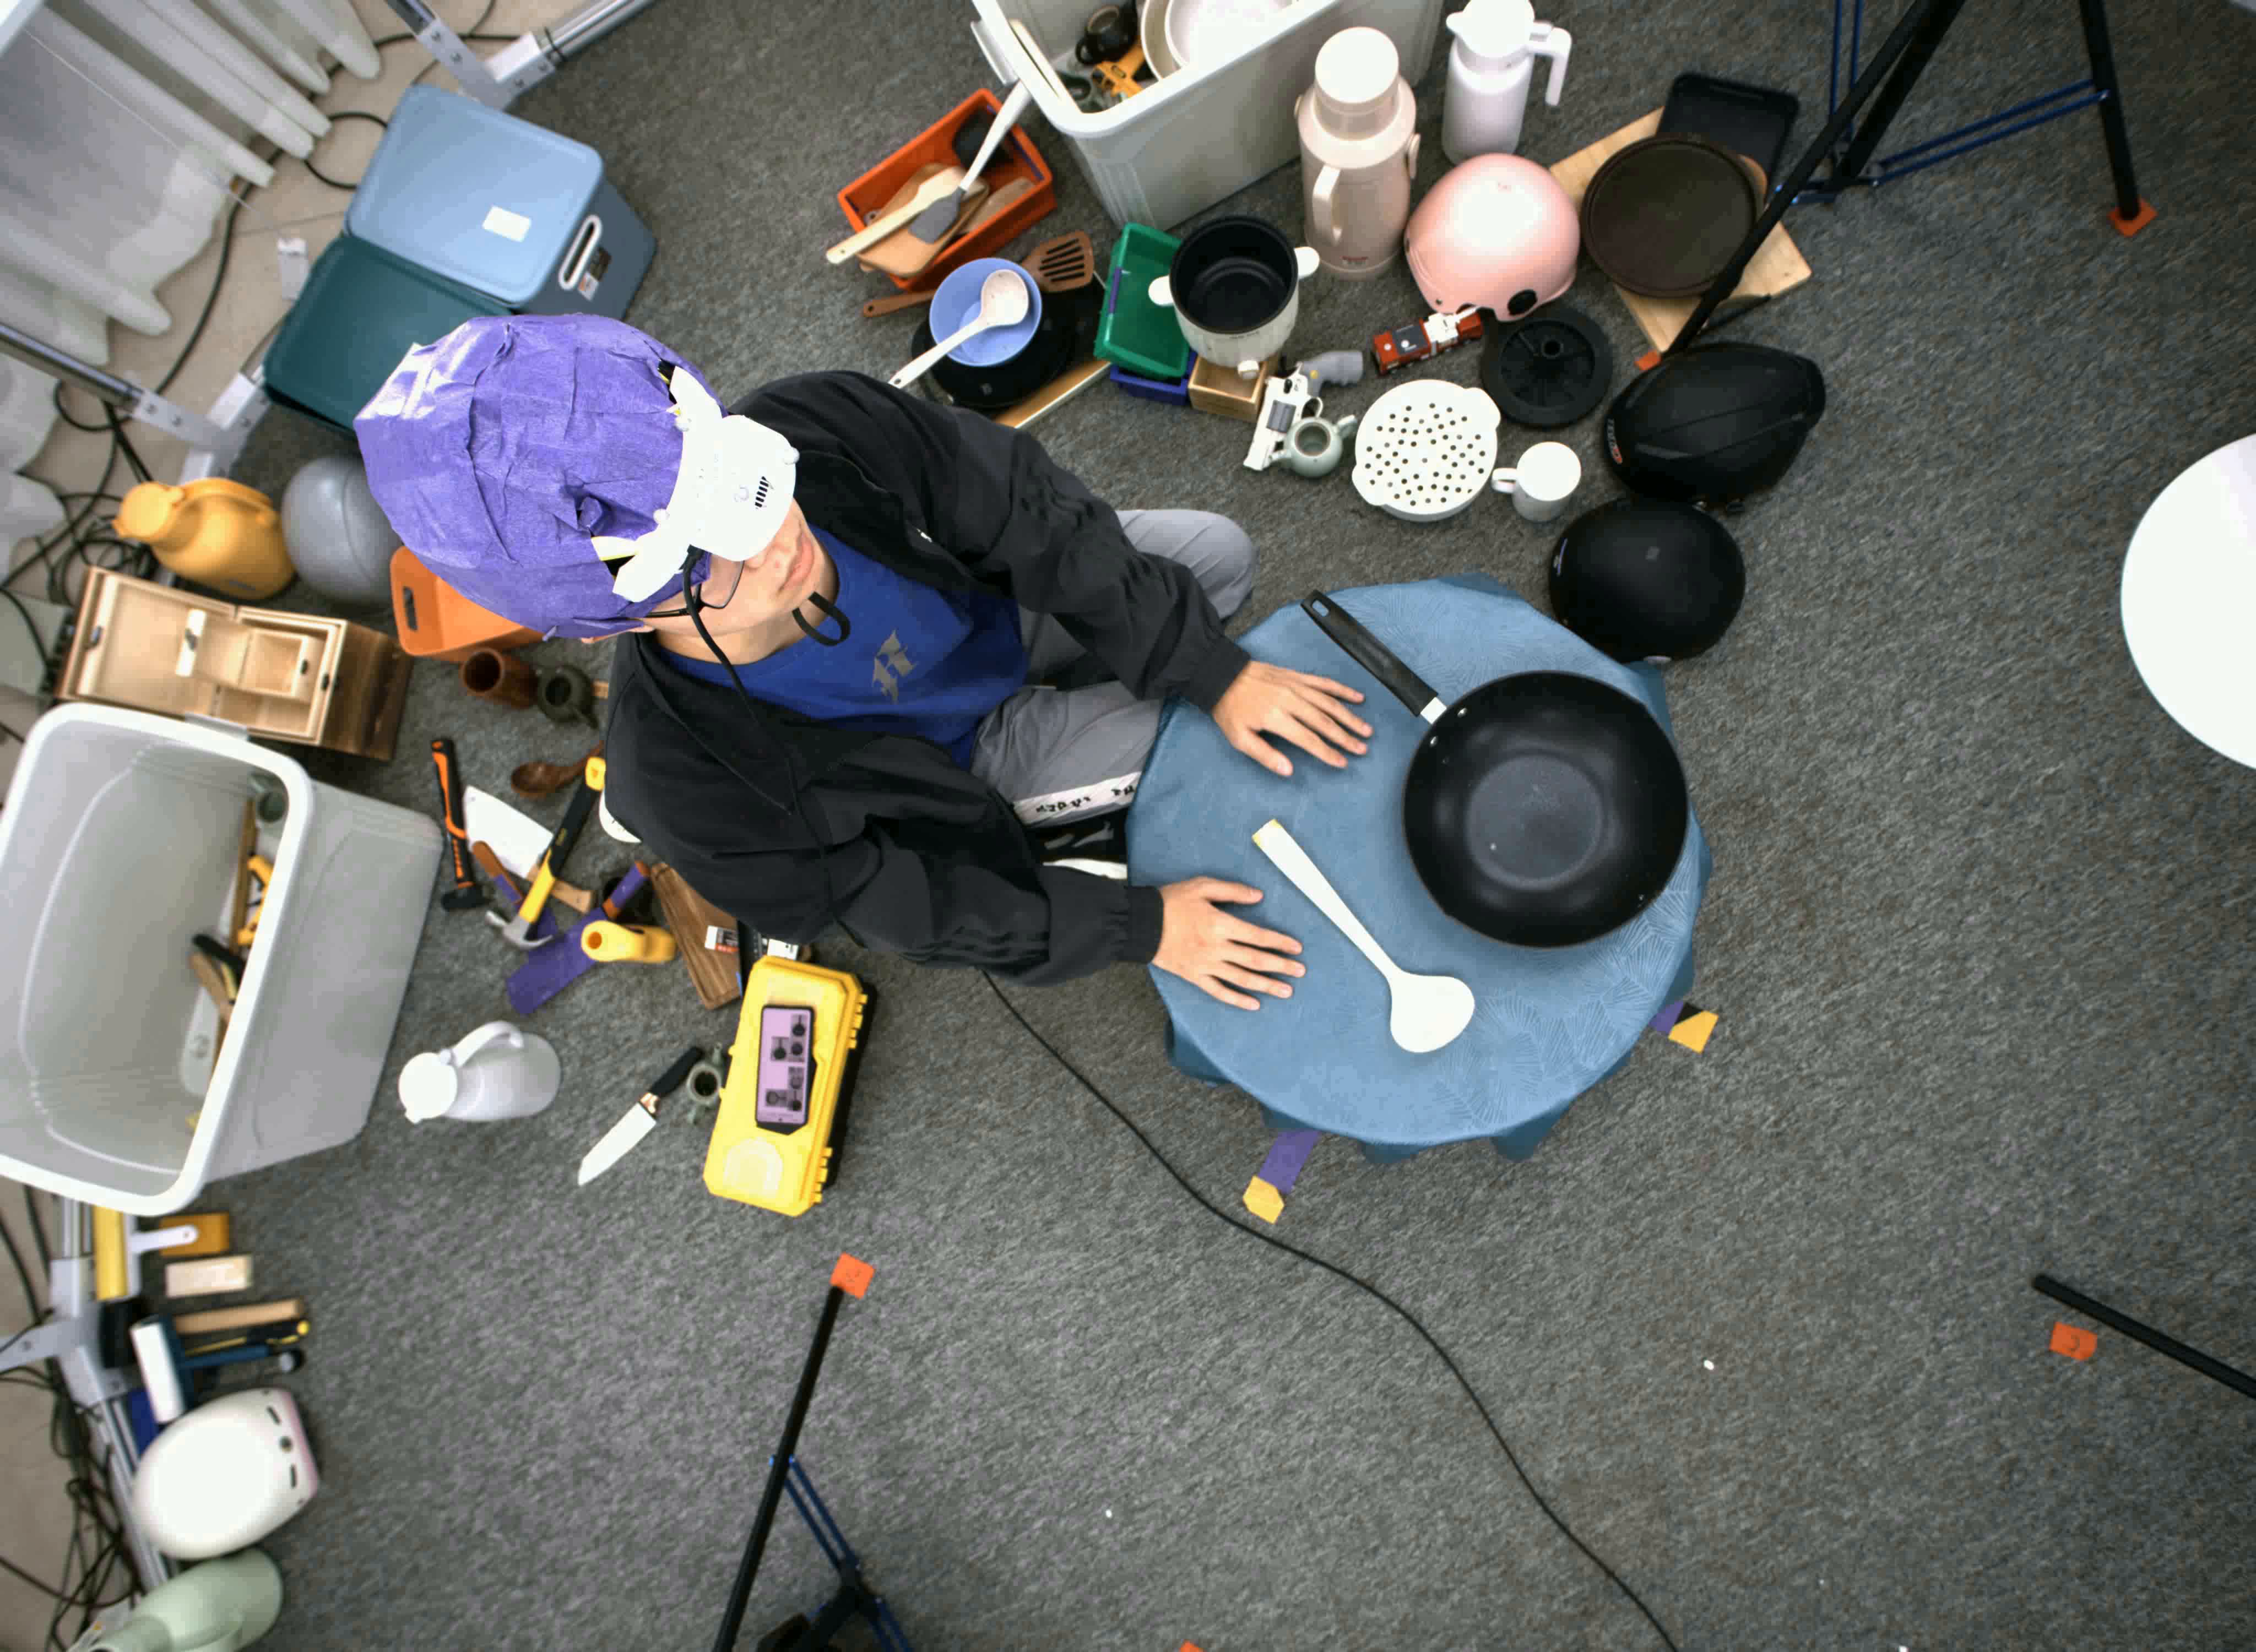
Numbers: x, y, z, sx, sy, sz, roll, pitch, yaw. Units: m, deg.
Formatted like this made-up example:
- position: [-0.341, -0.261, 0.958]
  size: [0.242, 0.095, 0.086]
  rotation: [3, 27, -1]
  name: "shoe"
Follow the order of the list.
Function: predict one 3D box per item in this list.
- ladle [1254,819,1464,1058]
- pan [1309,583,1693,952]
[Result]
- position: [0.231, 0.109, 1.432]
  size: [0.091, 0.070, 0.291]
  rotation: [-40, 79, 8]
  name: "ladle"
- position: [0.355, -0.076, 1.409]
  size: [0.461, 0.087, 0.289]
  rotation: [45, 95, 11]
  name: "pan"
